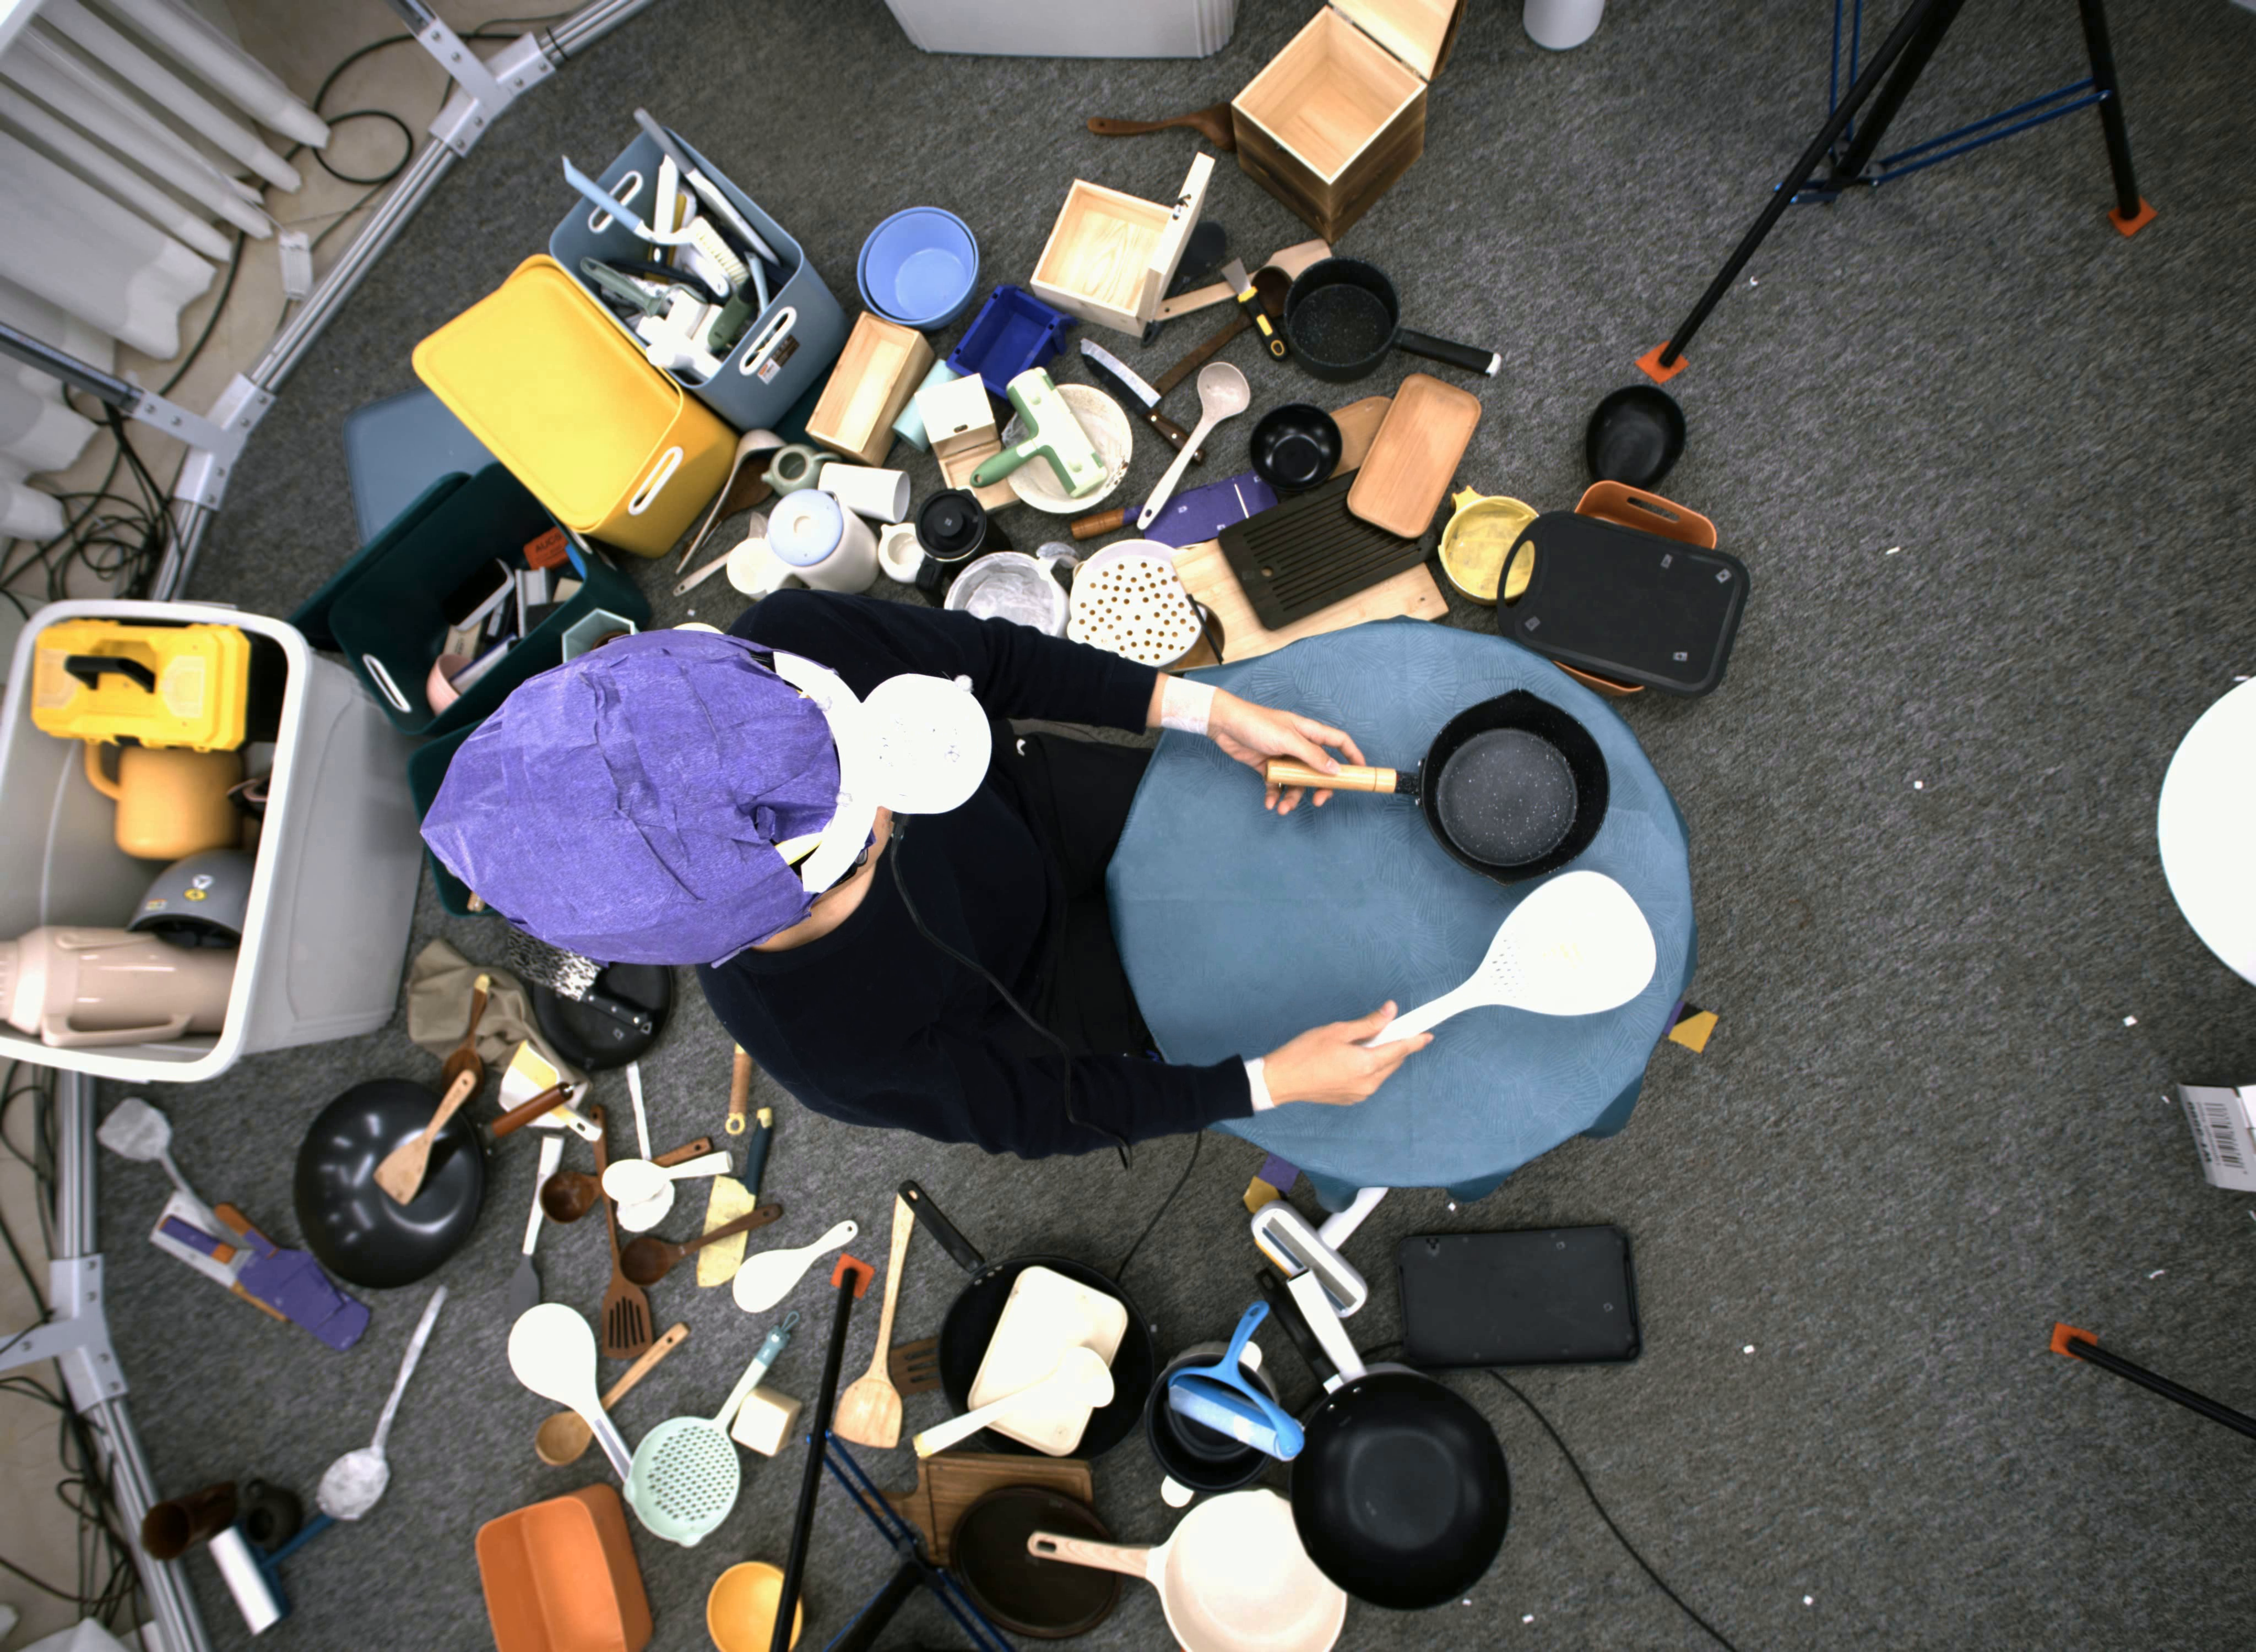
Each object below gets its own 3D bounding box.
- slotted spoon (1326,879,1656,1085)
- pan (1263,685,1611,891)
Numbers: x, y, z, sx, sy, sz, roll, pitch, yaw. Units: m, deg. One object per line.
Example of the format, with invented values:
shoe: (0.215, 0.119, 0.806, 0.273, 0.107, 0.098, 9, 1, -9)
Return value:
slotted spoon: (0.350, 0.164, 1.352, 0.346, 0.051, 0.135, -23, 74, -8)
pan: (0.310, -0.041, 1.404, 0.344, 0.108, 0.207, 3, 88, 9)
